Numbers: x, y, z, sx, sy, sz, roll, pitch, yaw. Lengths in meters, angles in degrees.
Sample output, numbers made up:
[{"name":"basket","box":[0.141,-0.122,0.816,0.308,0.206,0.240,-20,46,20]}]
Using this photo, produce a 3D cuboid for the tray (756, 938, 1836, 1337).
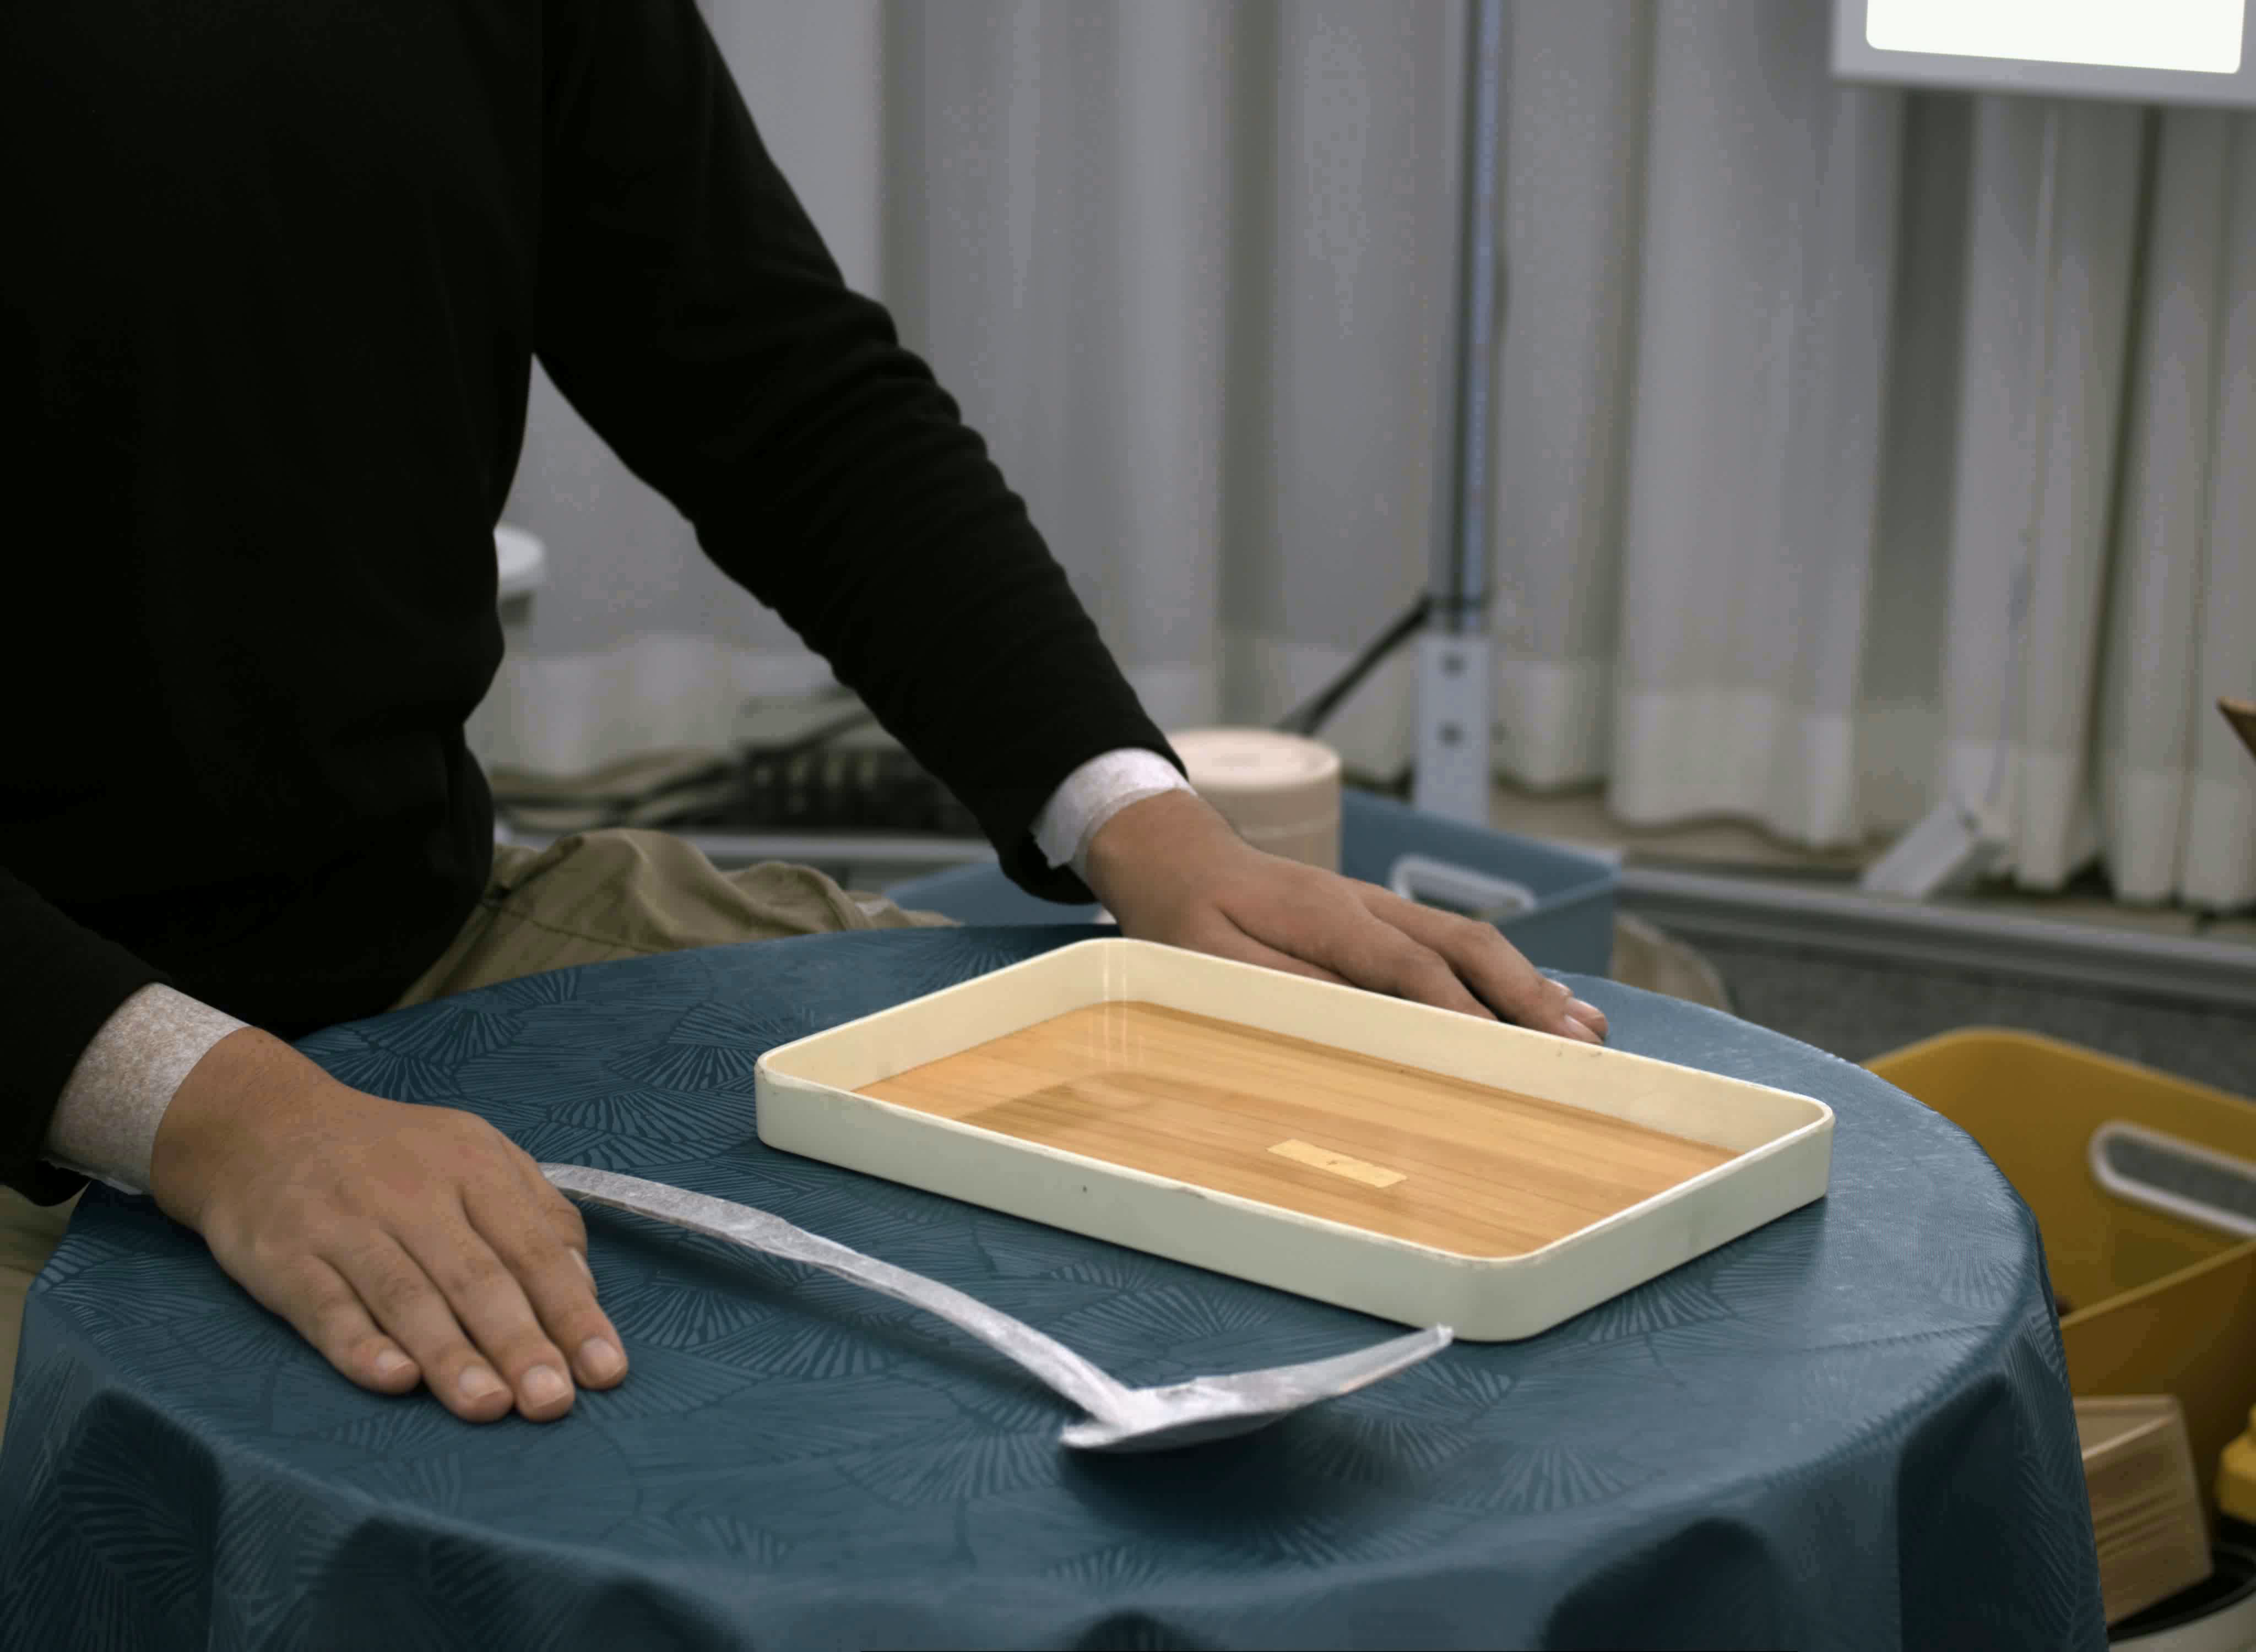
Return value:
[{"name":"tray","box":[0.050,0.093,1.642,0.296,0.027,0.192,12,20,37]}]

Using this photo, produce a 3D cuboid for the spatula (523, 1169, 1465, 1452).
[{"name":"spatula","box":[-0.062,0.127,1.494,0.360,0.045,0.099,15,22,42]}]
